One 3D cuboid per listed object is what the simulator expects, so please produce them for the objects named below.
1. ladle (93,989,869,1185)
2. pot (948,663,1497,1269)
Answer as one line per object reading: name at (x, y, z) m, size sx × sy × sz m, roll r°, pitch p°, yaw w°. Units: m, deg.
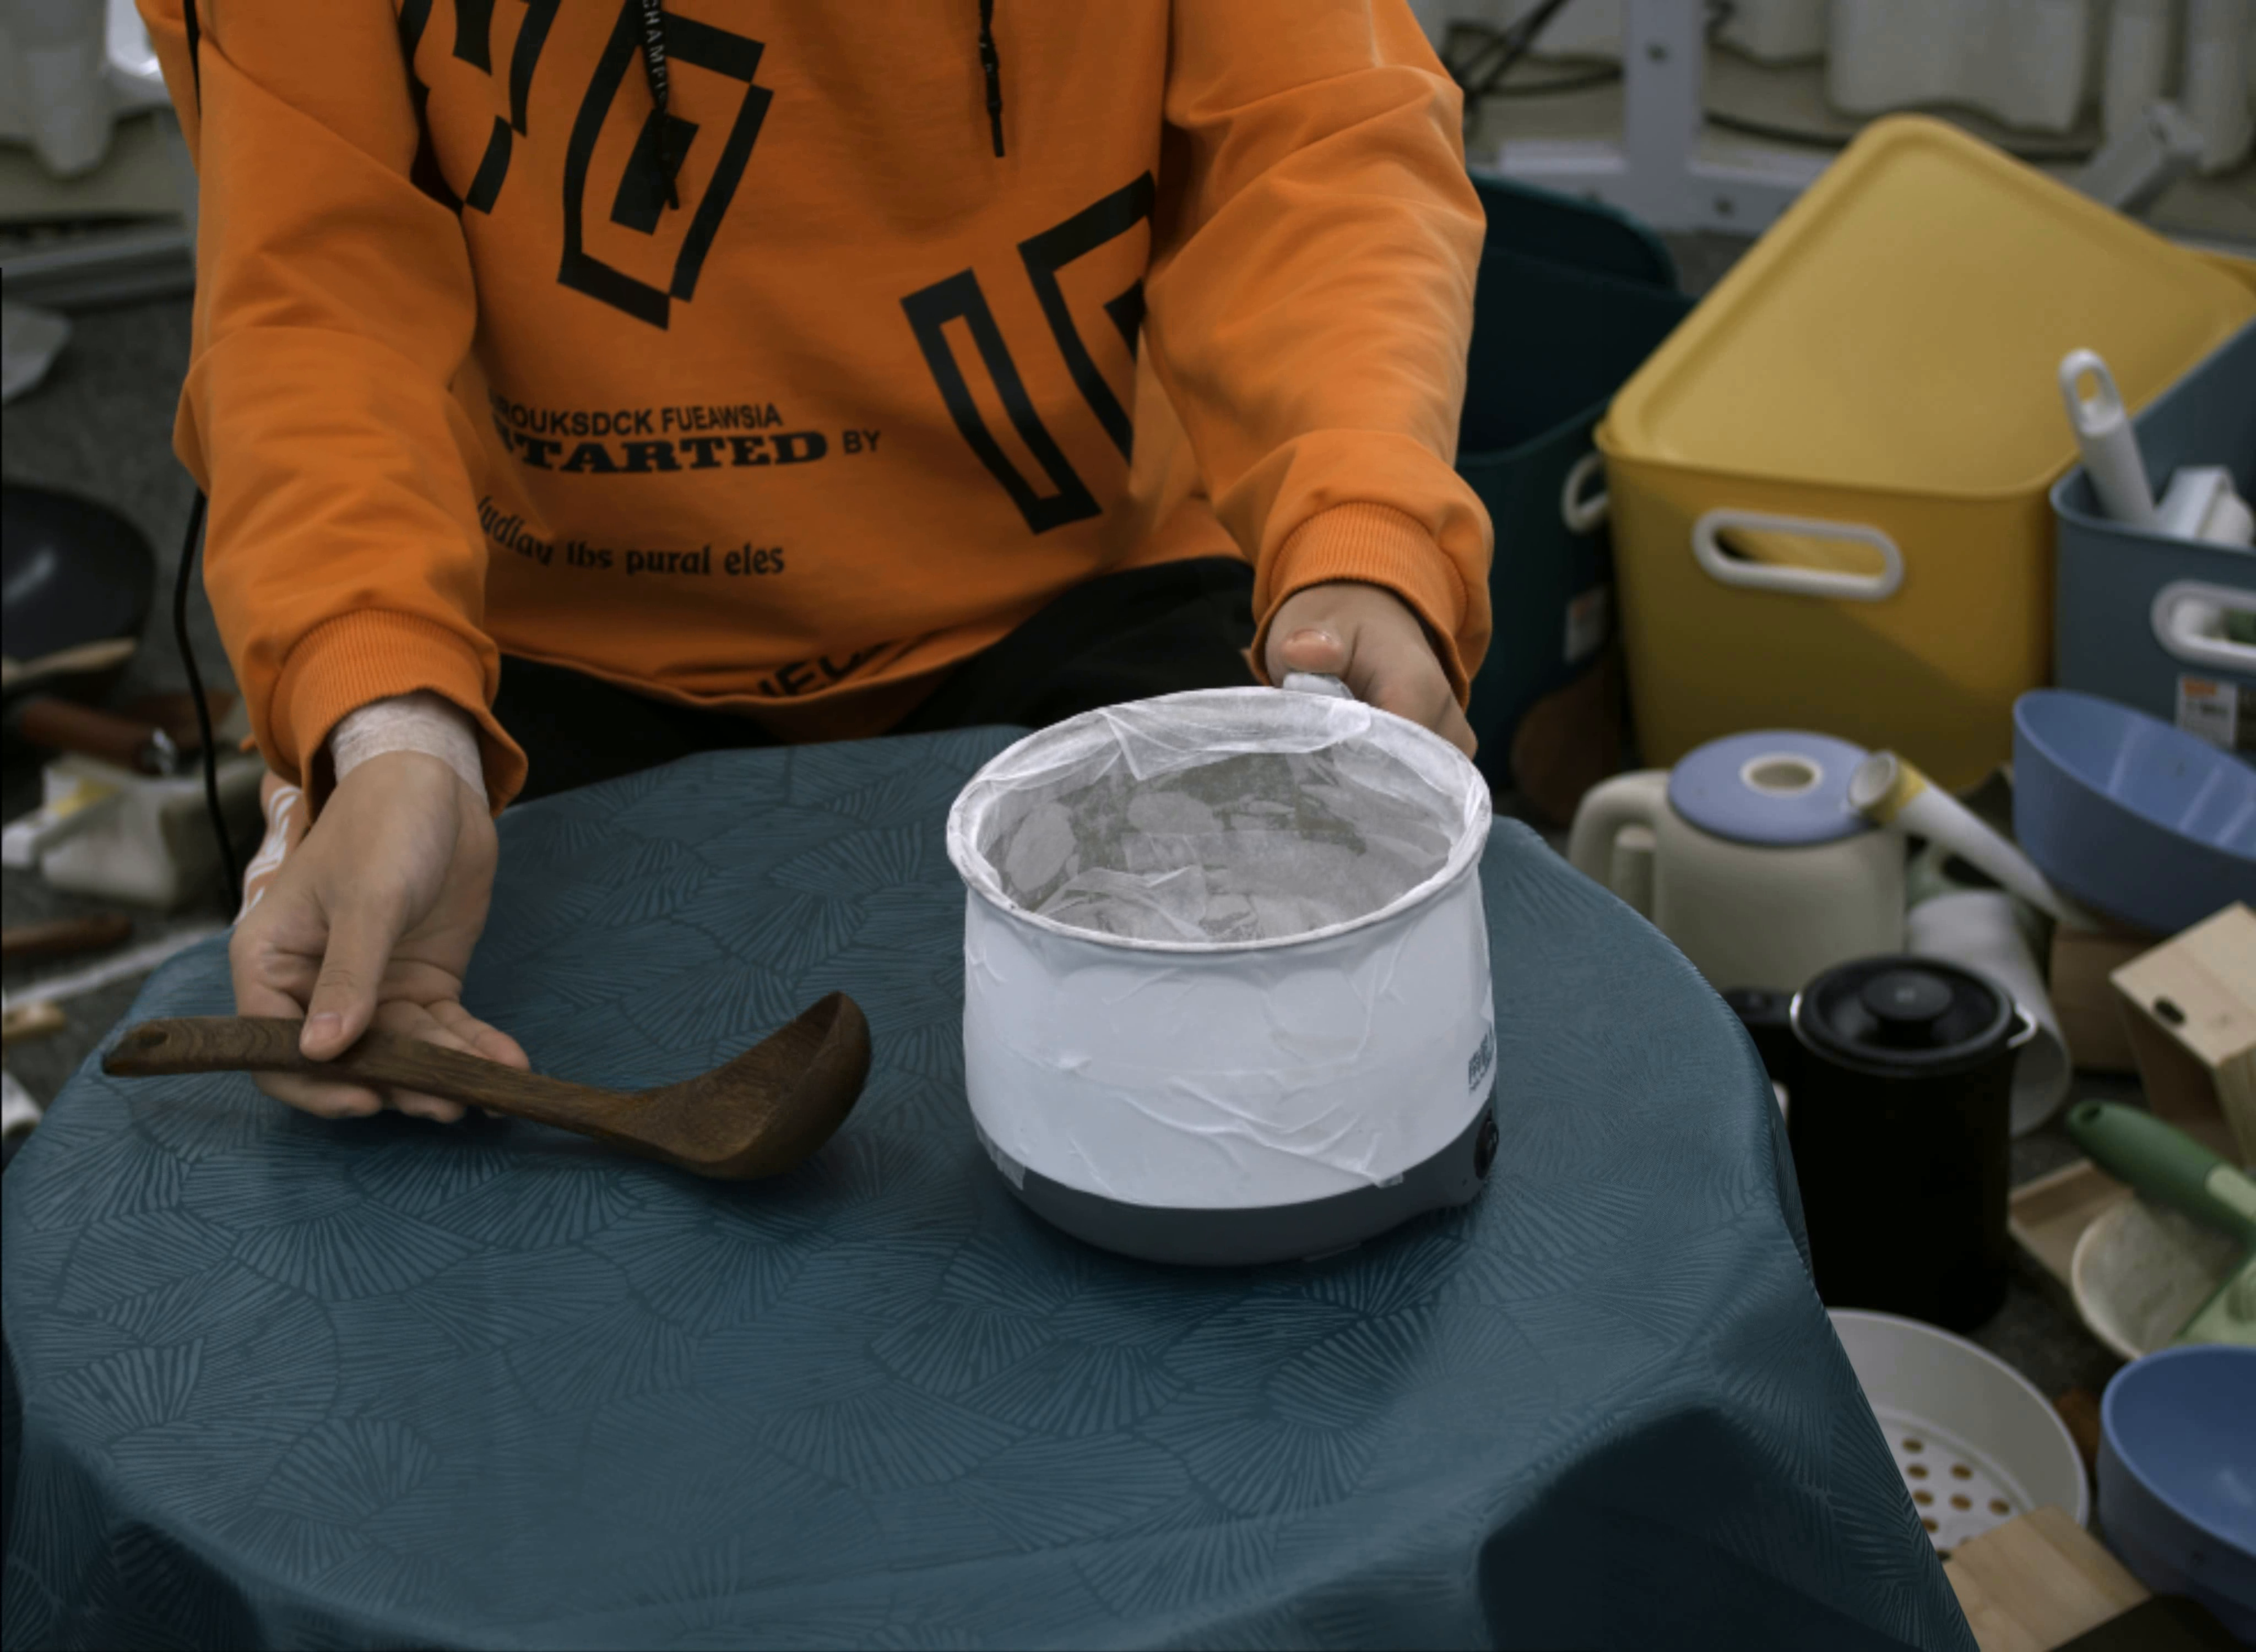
ladle at (-0.220, 0.072, 1.891) m, size 0.272 × 0.070 × 0.077 m, roll 9°, pitch 32°, yaw 11°
pot at (0.041, 0.039, 1.871) m, size 0.177 × 0.135 × 0.238 m, roll 6°, pitch 29°, yaw 16°
